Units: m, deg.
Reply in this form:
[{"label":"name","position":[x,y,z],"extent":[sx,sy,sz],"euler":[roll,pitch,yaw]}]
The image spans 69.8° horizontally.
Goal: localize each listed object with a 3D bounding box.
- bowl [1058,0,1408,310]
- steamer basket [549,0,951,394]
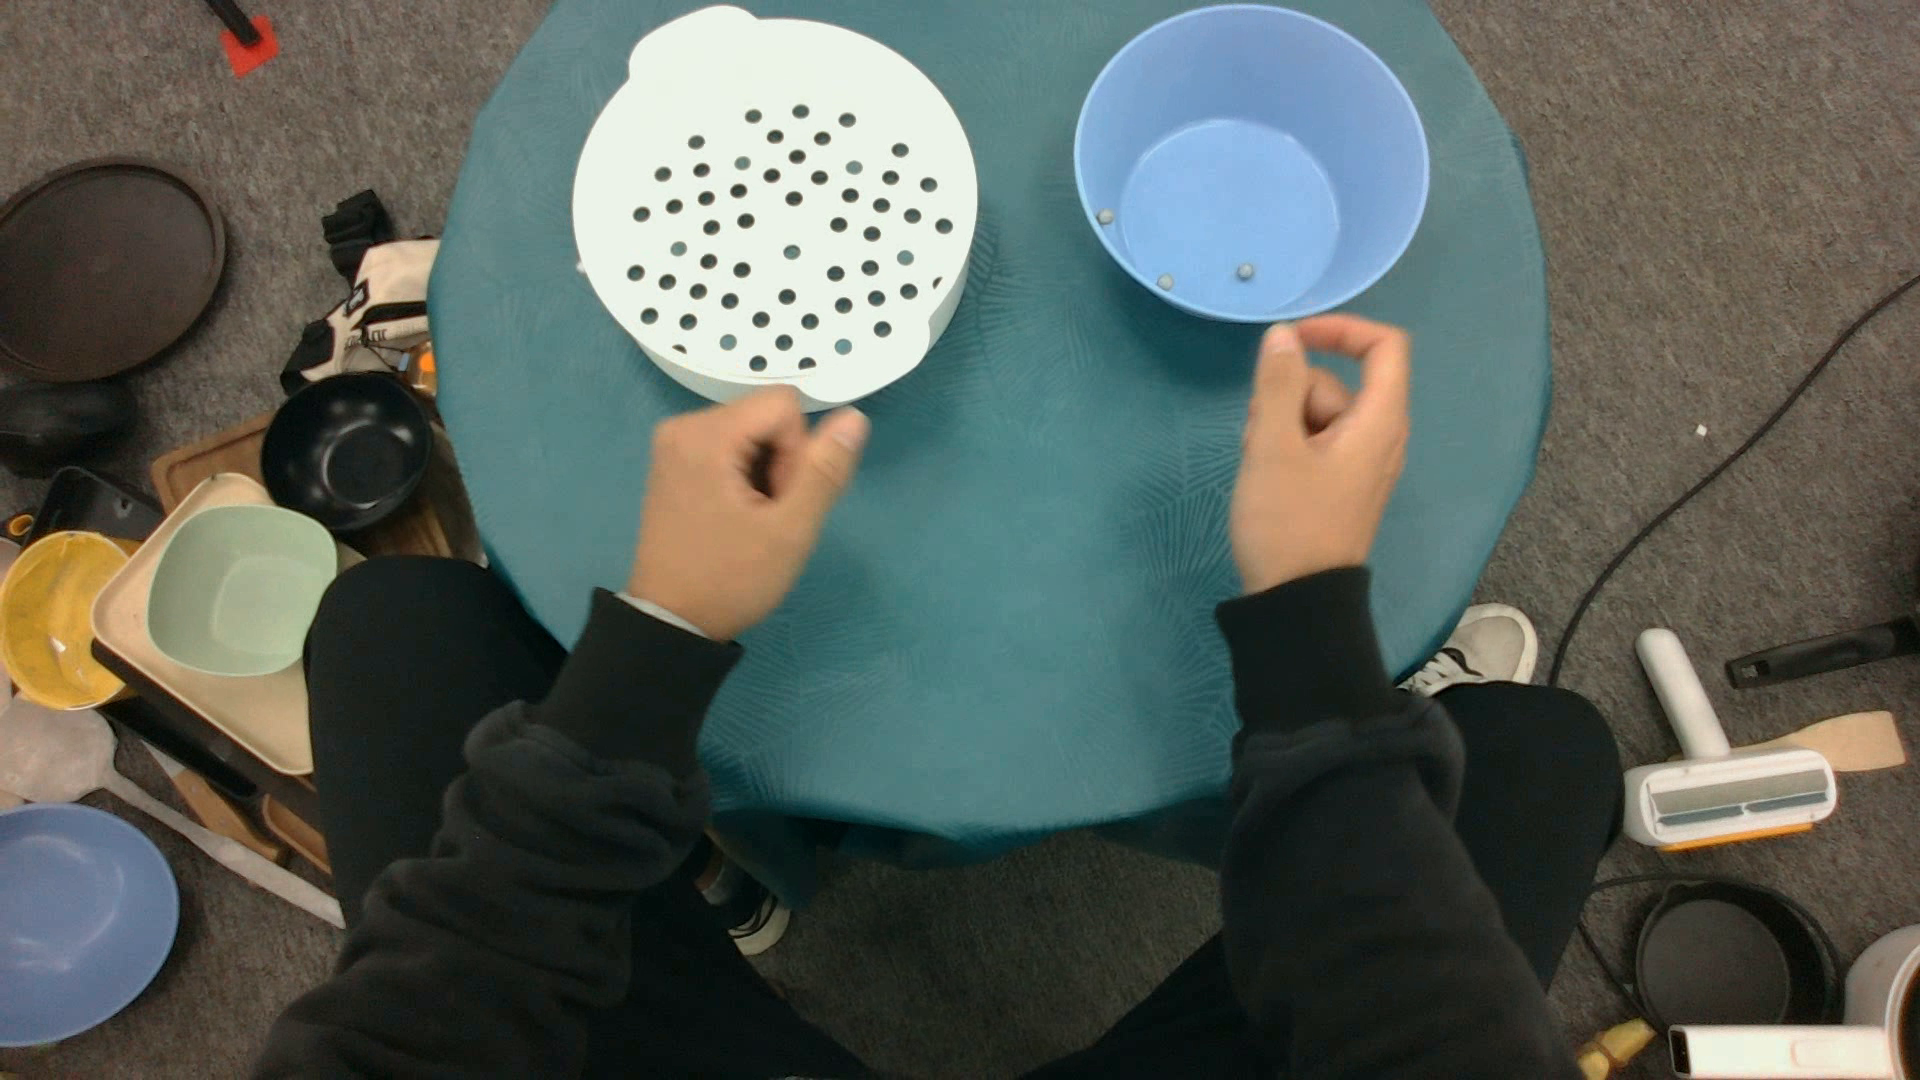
[{"label":"bowl","position":[0.138,-0.189,0.721],"extent":[0.176,0.070,0.176],"euler":[0,75,0]},{"label":"steamer basket","position":[-0.105,-0.174,0.715],"extent":[0.202,0.069,0.231],"euler":[-28,75,-8]}]
